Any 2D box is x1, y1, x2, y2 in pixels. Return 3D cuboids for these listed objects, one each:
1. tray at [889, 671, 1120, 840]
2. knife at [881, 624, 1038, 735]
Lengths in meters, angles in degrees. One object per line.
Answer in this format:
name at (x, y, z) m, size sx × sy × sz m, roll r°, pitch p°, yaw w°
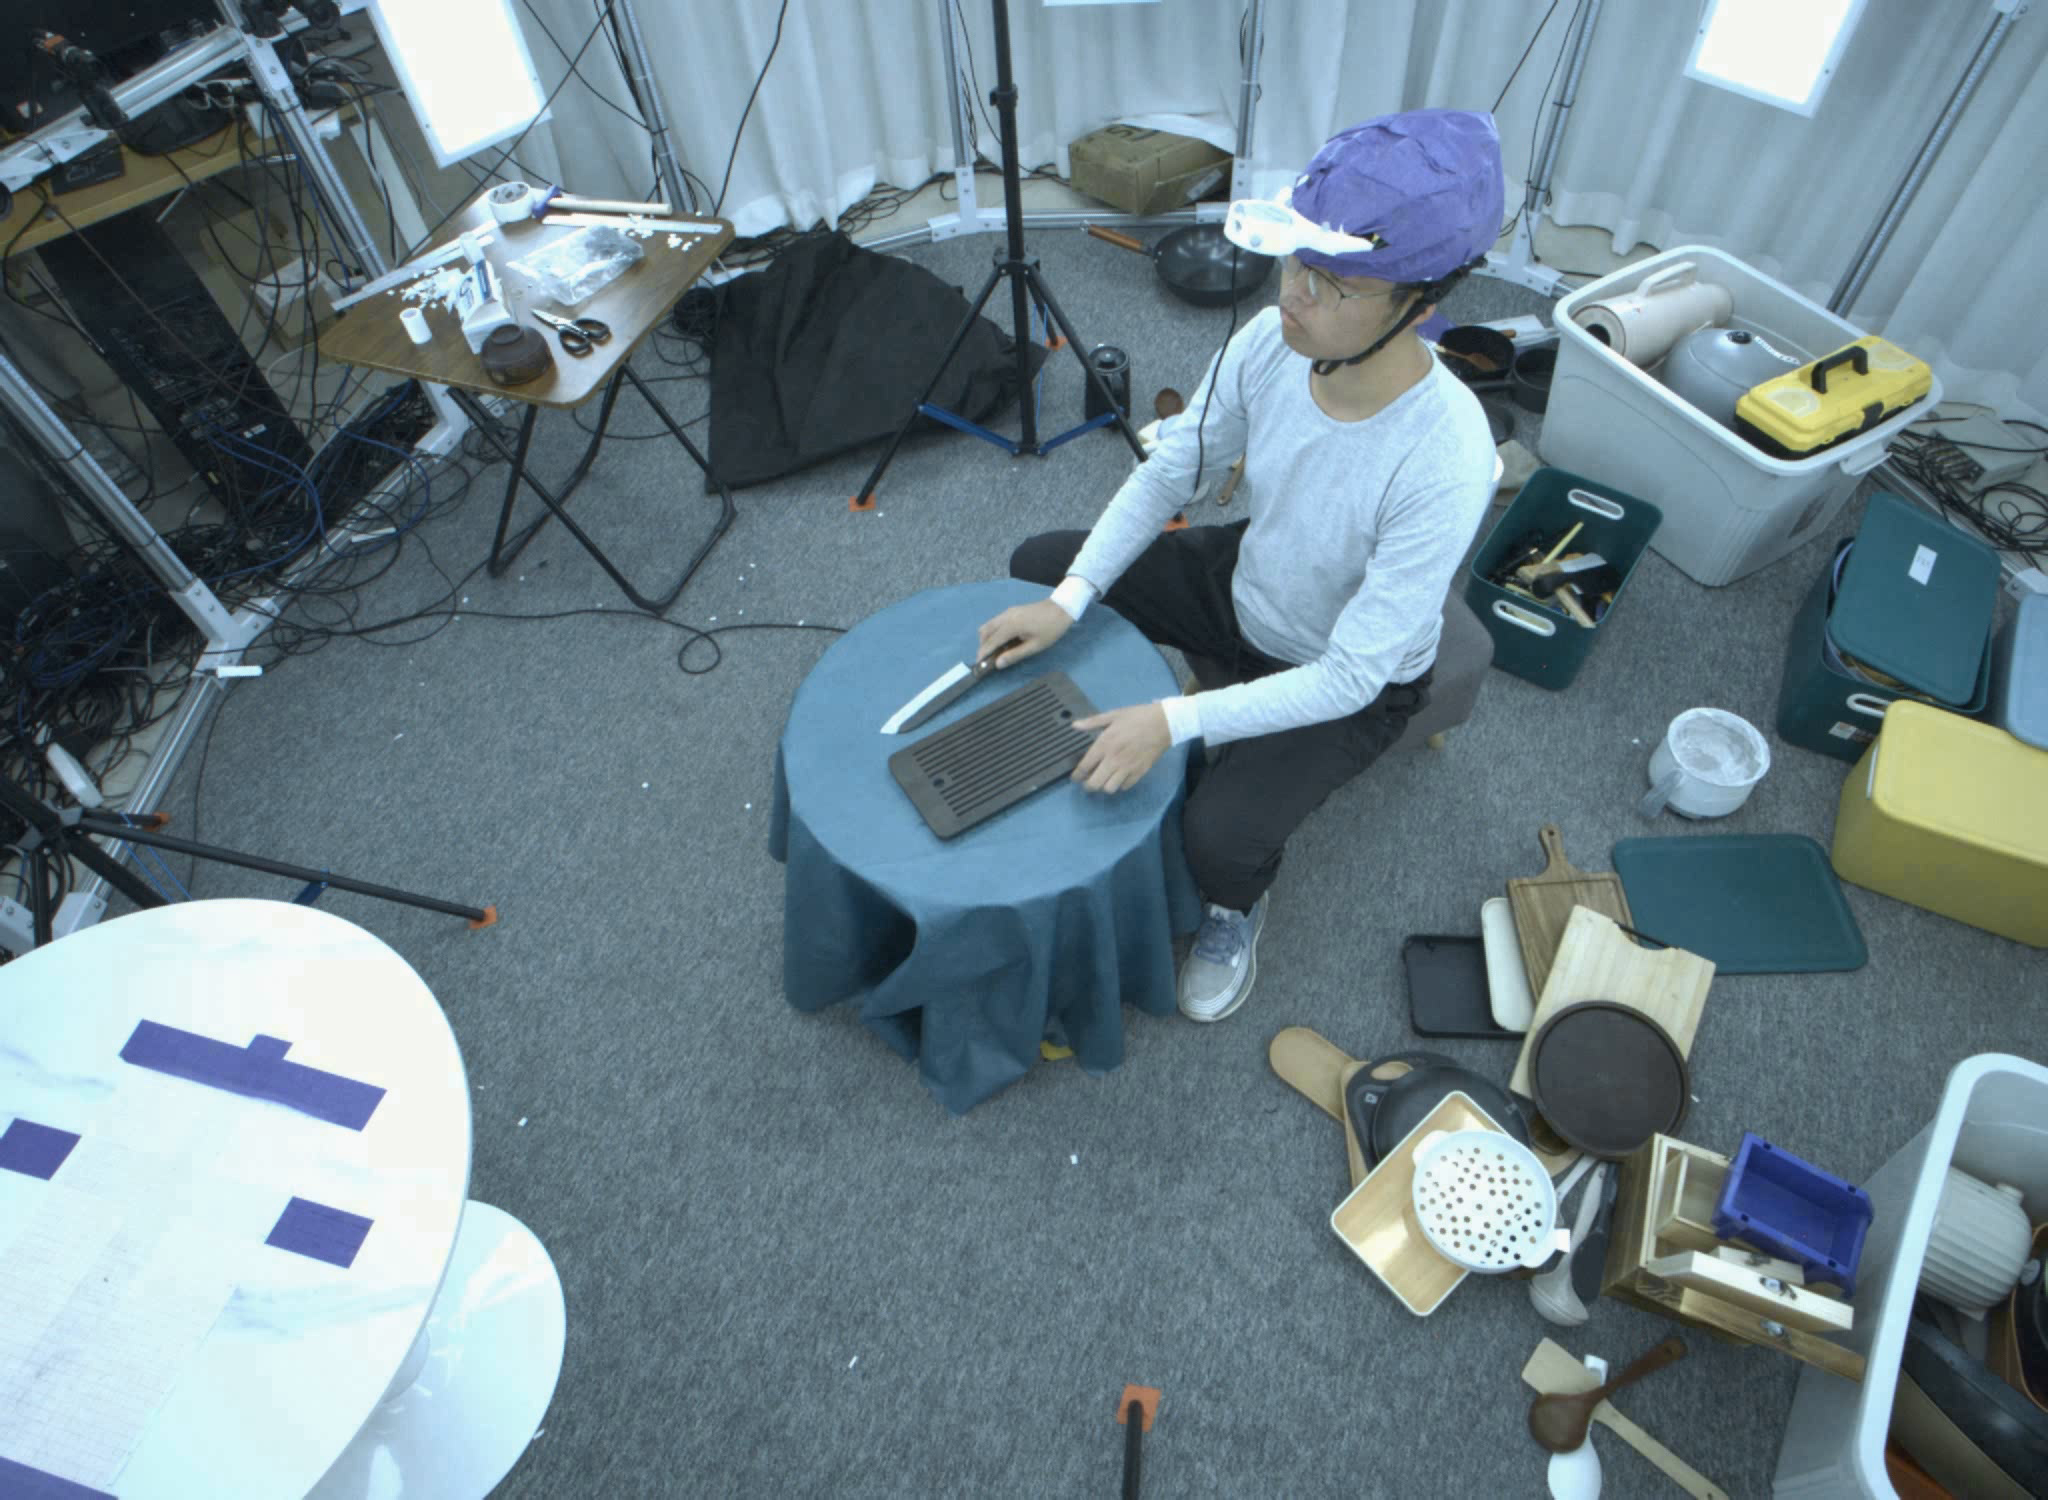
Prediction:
tray at (-0.027, 0.004, 1.782) m, size 0.308 × 0.019 × 0.167 m, roll -28°, pitch 58°, yaw -18°
knife at (-0.097, -0.106, 1.853) m, size 0.291 × 0.020 × 0.049 m, roll -36°, pitch 61°, yaw -15°
